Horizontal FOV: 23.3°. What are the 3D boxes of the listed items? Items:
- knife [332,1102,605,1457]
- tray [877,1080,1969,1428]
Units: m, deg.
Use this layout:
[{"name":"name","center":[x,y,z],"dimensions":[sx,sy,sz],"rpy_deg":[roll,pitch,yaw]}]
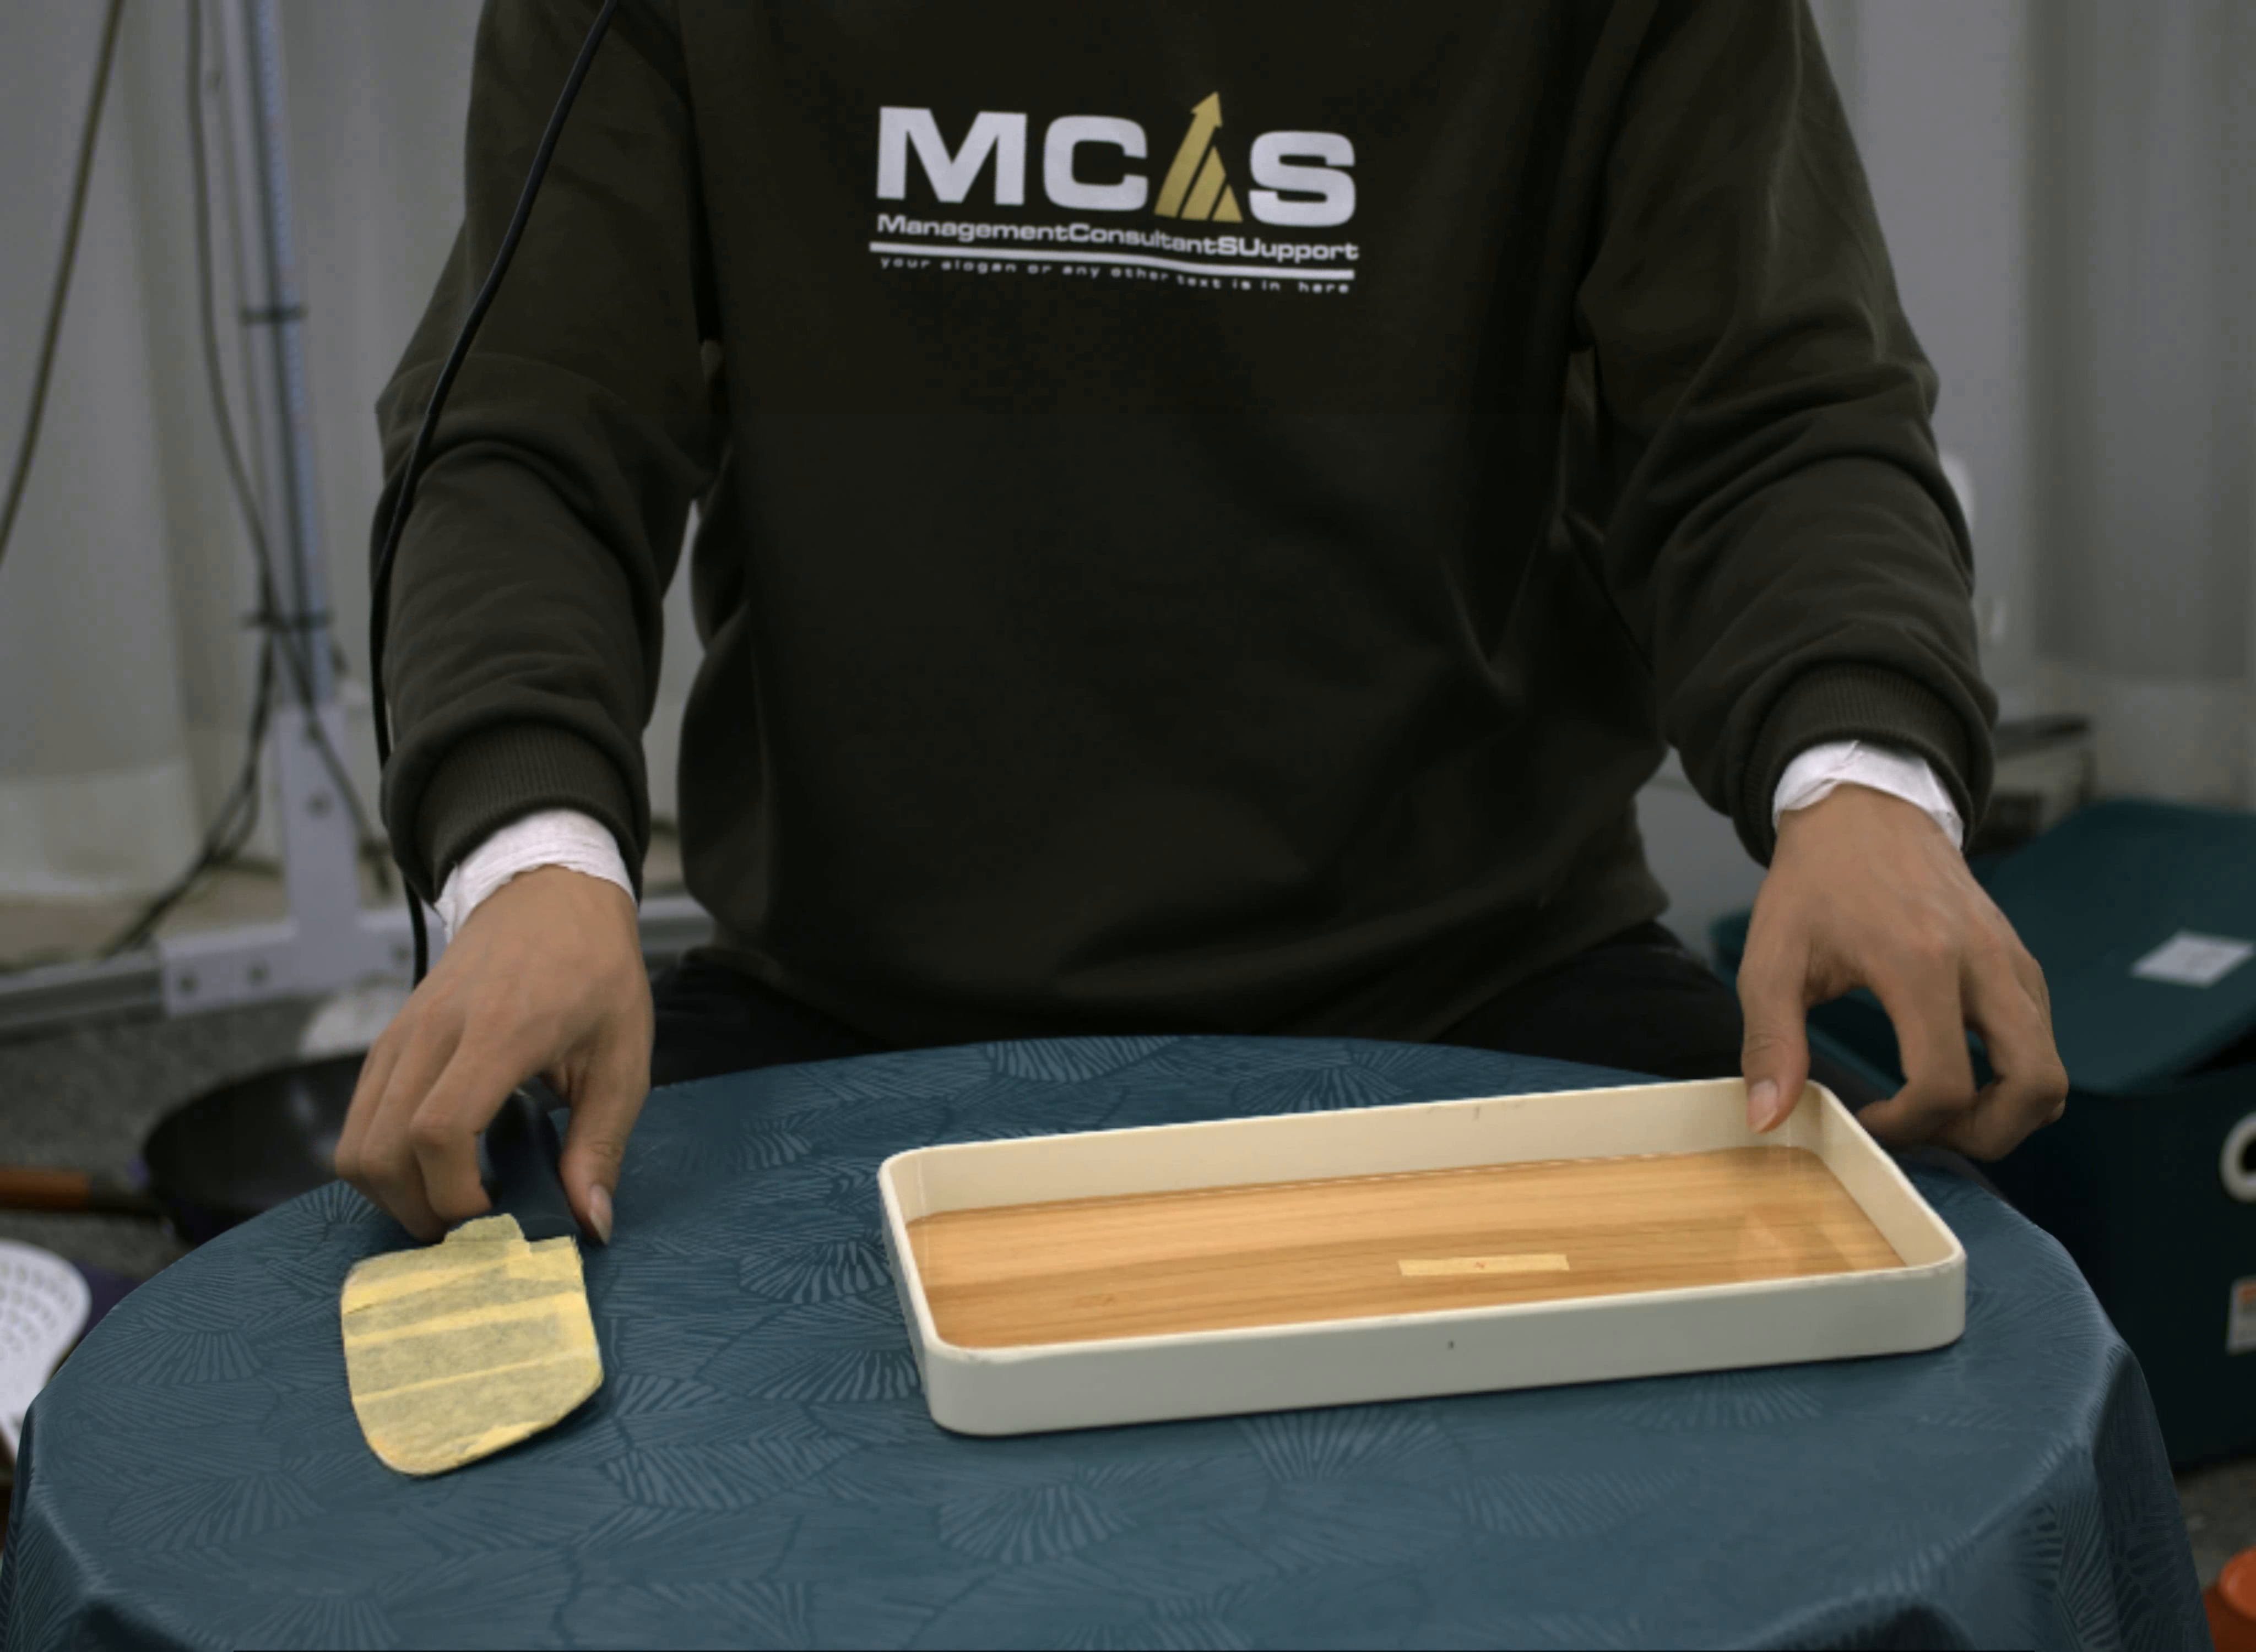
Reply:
[{"name":"knife","center":[-0.199,0.136,1.646],"dimensions":[0.081,0.027,0.292],"rpy_deg":[-6,15,-5]},{"name":"tray","center":[0.081,0.124,1.615],"dimensions":[0.299,0.027,0.193],"rpy_deg":[-4,14,-6]}]
